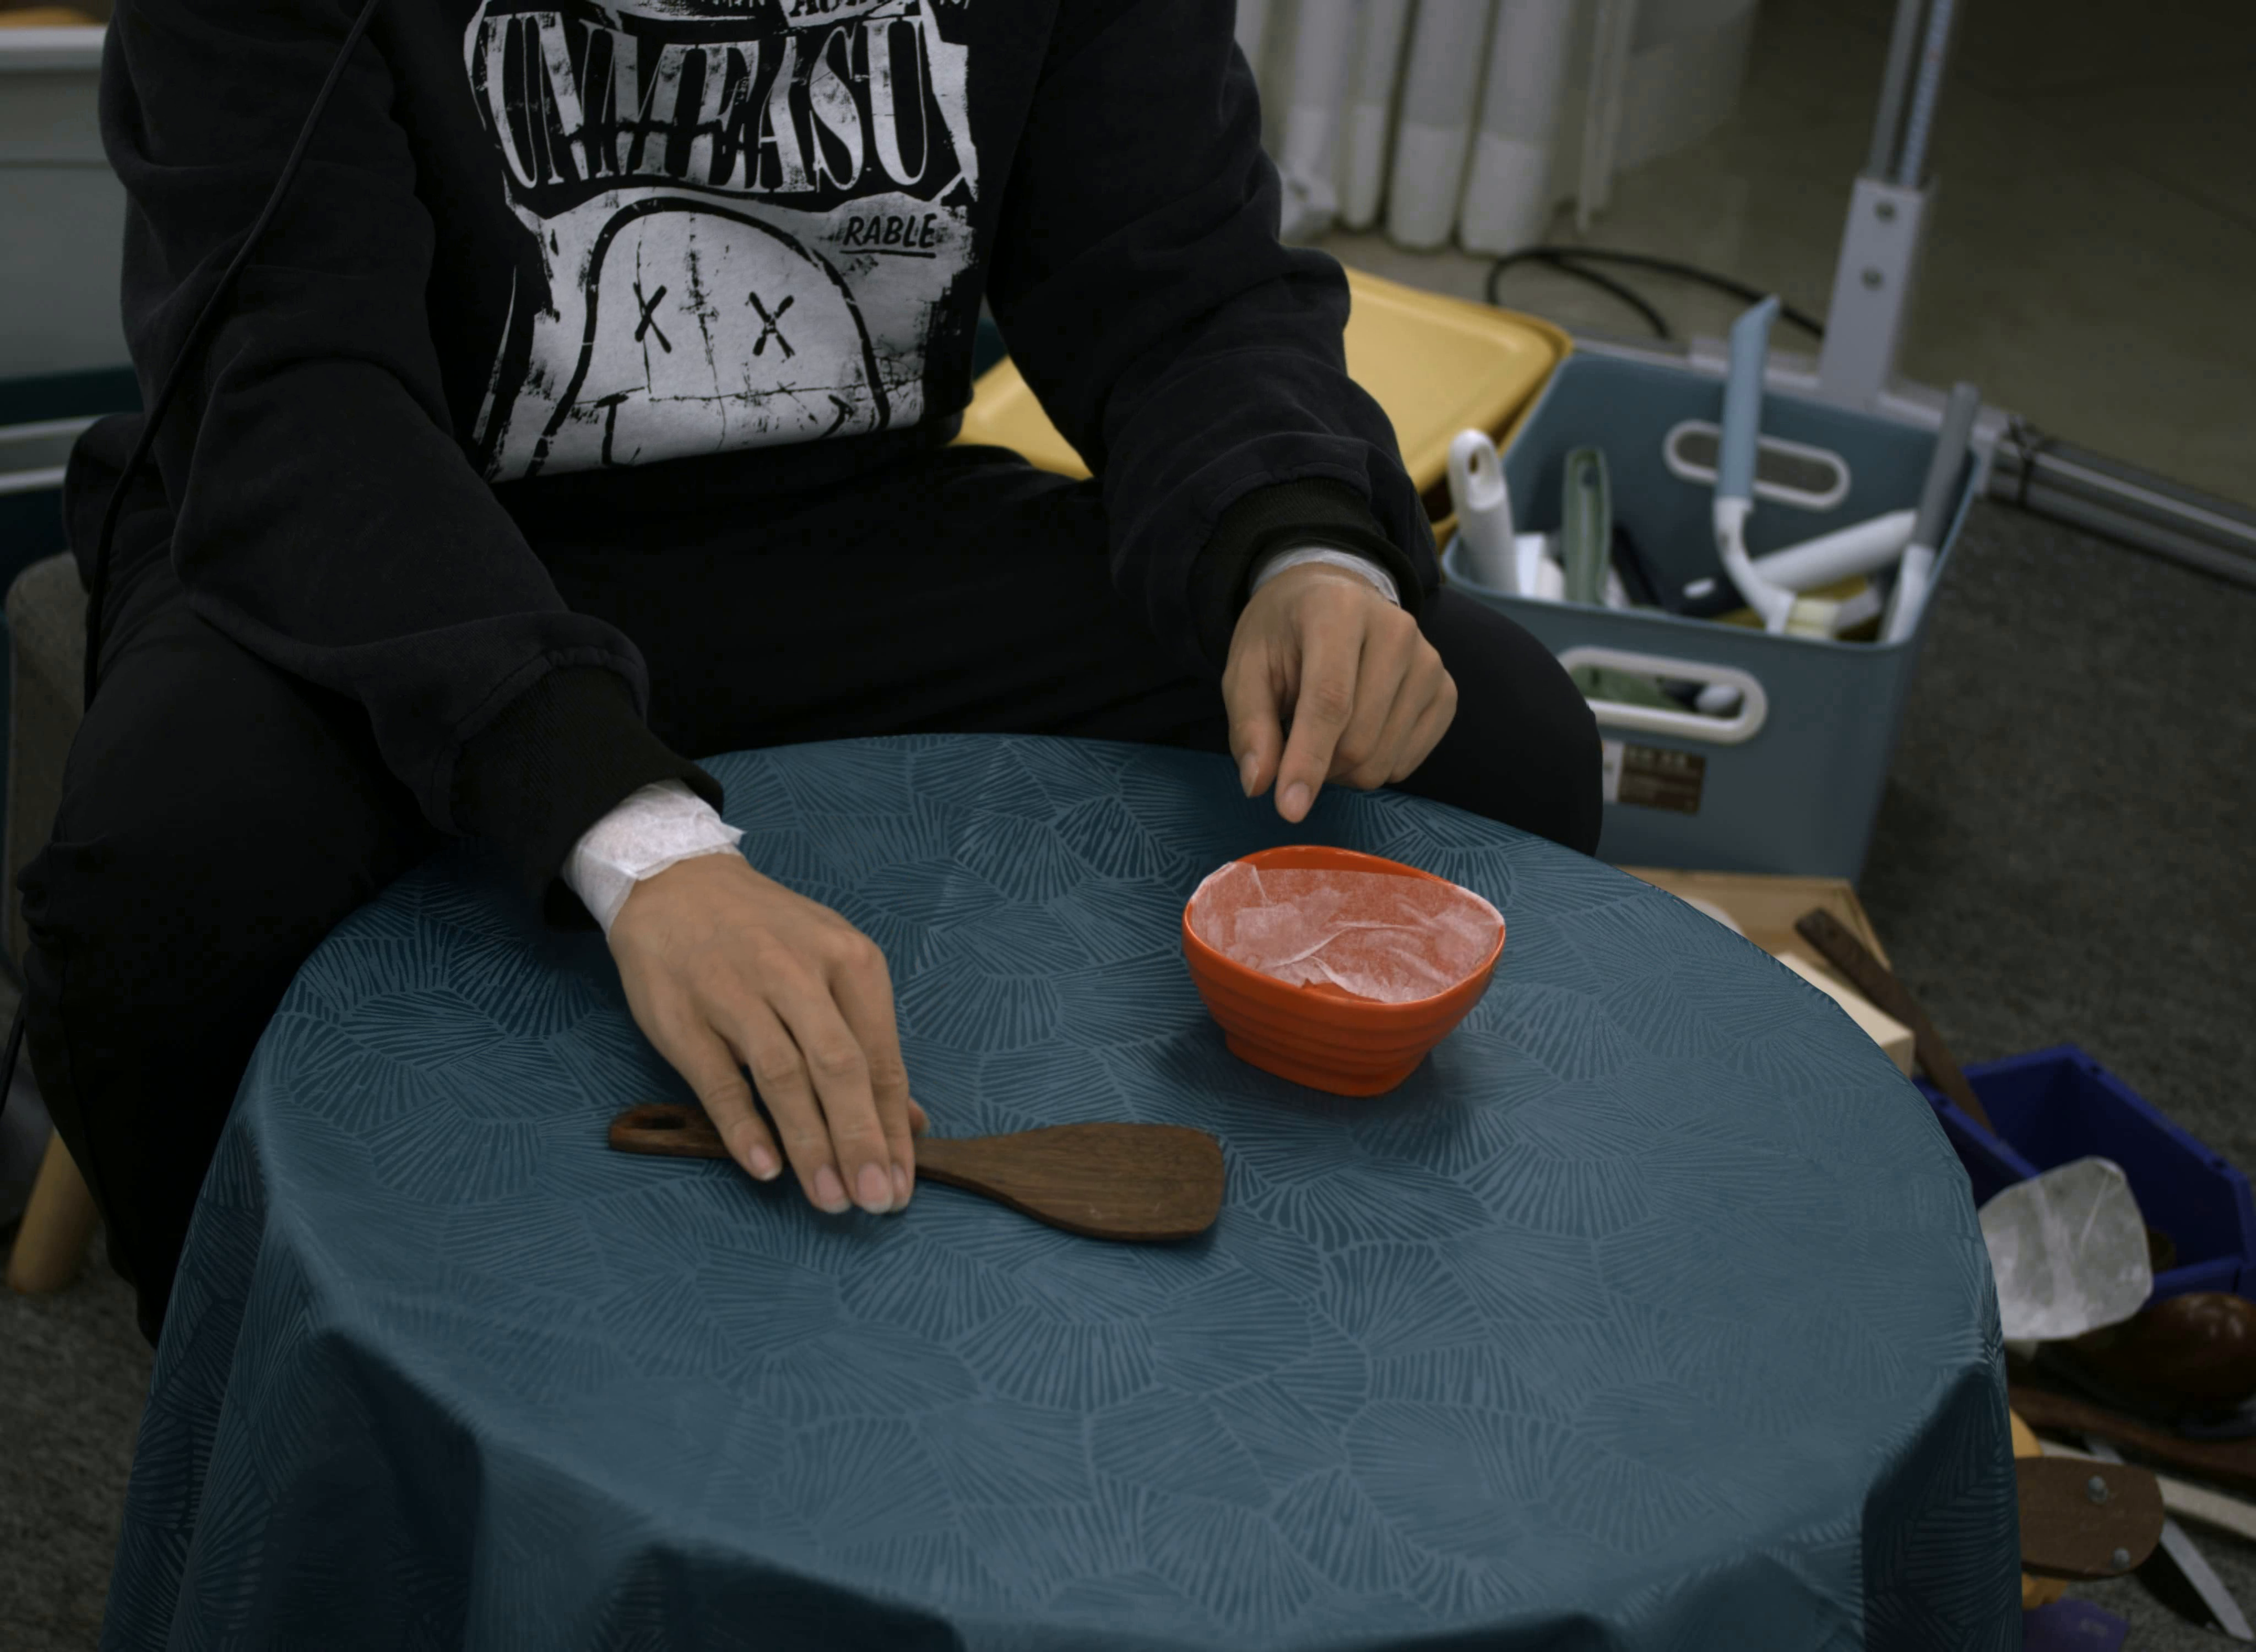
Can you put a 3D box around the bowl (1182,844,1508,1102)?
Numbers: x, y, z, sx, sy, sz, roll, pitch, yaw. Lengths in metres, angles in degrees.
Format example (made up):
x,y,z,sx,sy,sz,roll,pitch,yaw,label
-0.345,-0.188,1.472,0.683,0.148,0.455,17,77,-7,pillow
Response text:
x,y,z,sx,sy,sz,roll,pitch,yaw,label
0.075,0.057,1.895,0.118,0.051,0.119,5,29,-3,bowl

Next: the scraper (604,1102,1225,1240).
x,y,z,sx,sy,sz,roll,pitch,yaw,label
-0.072,0.112,1.798,0.211,0.011,0.076,6,25,1,scraper
